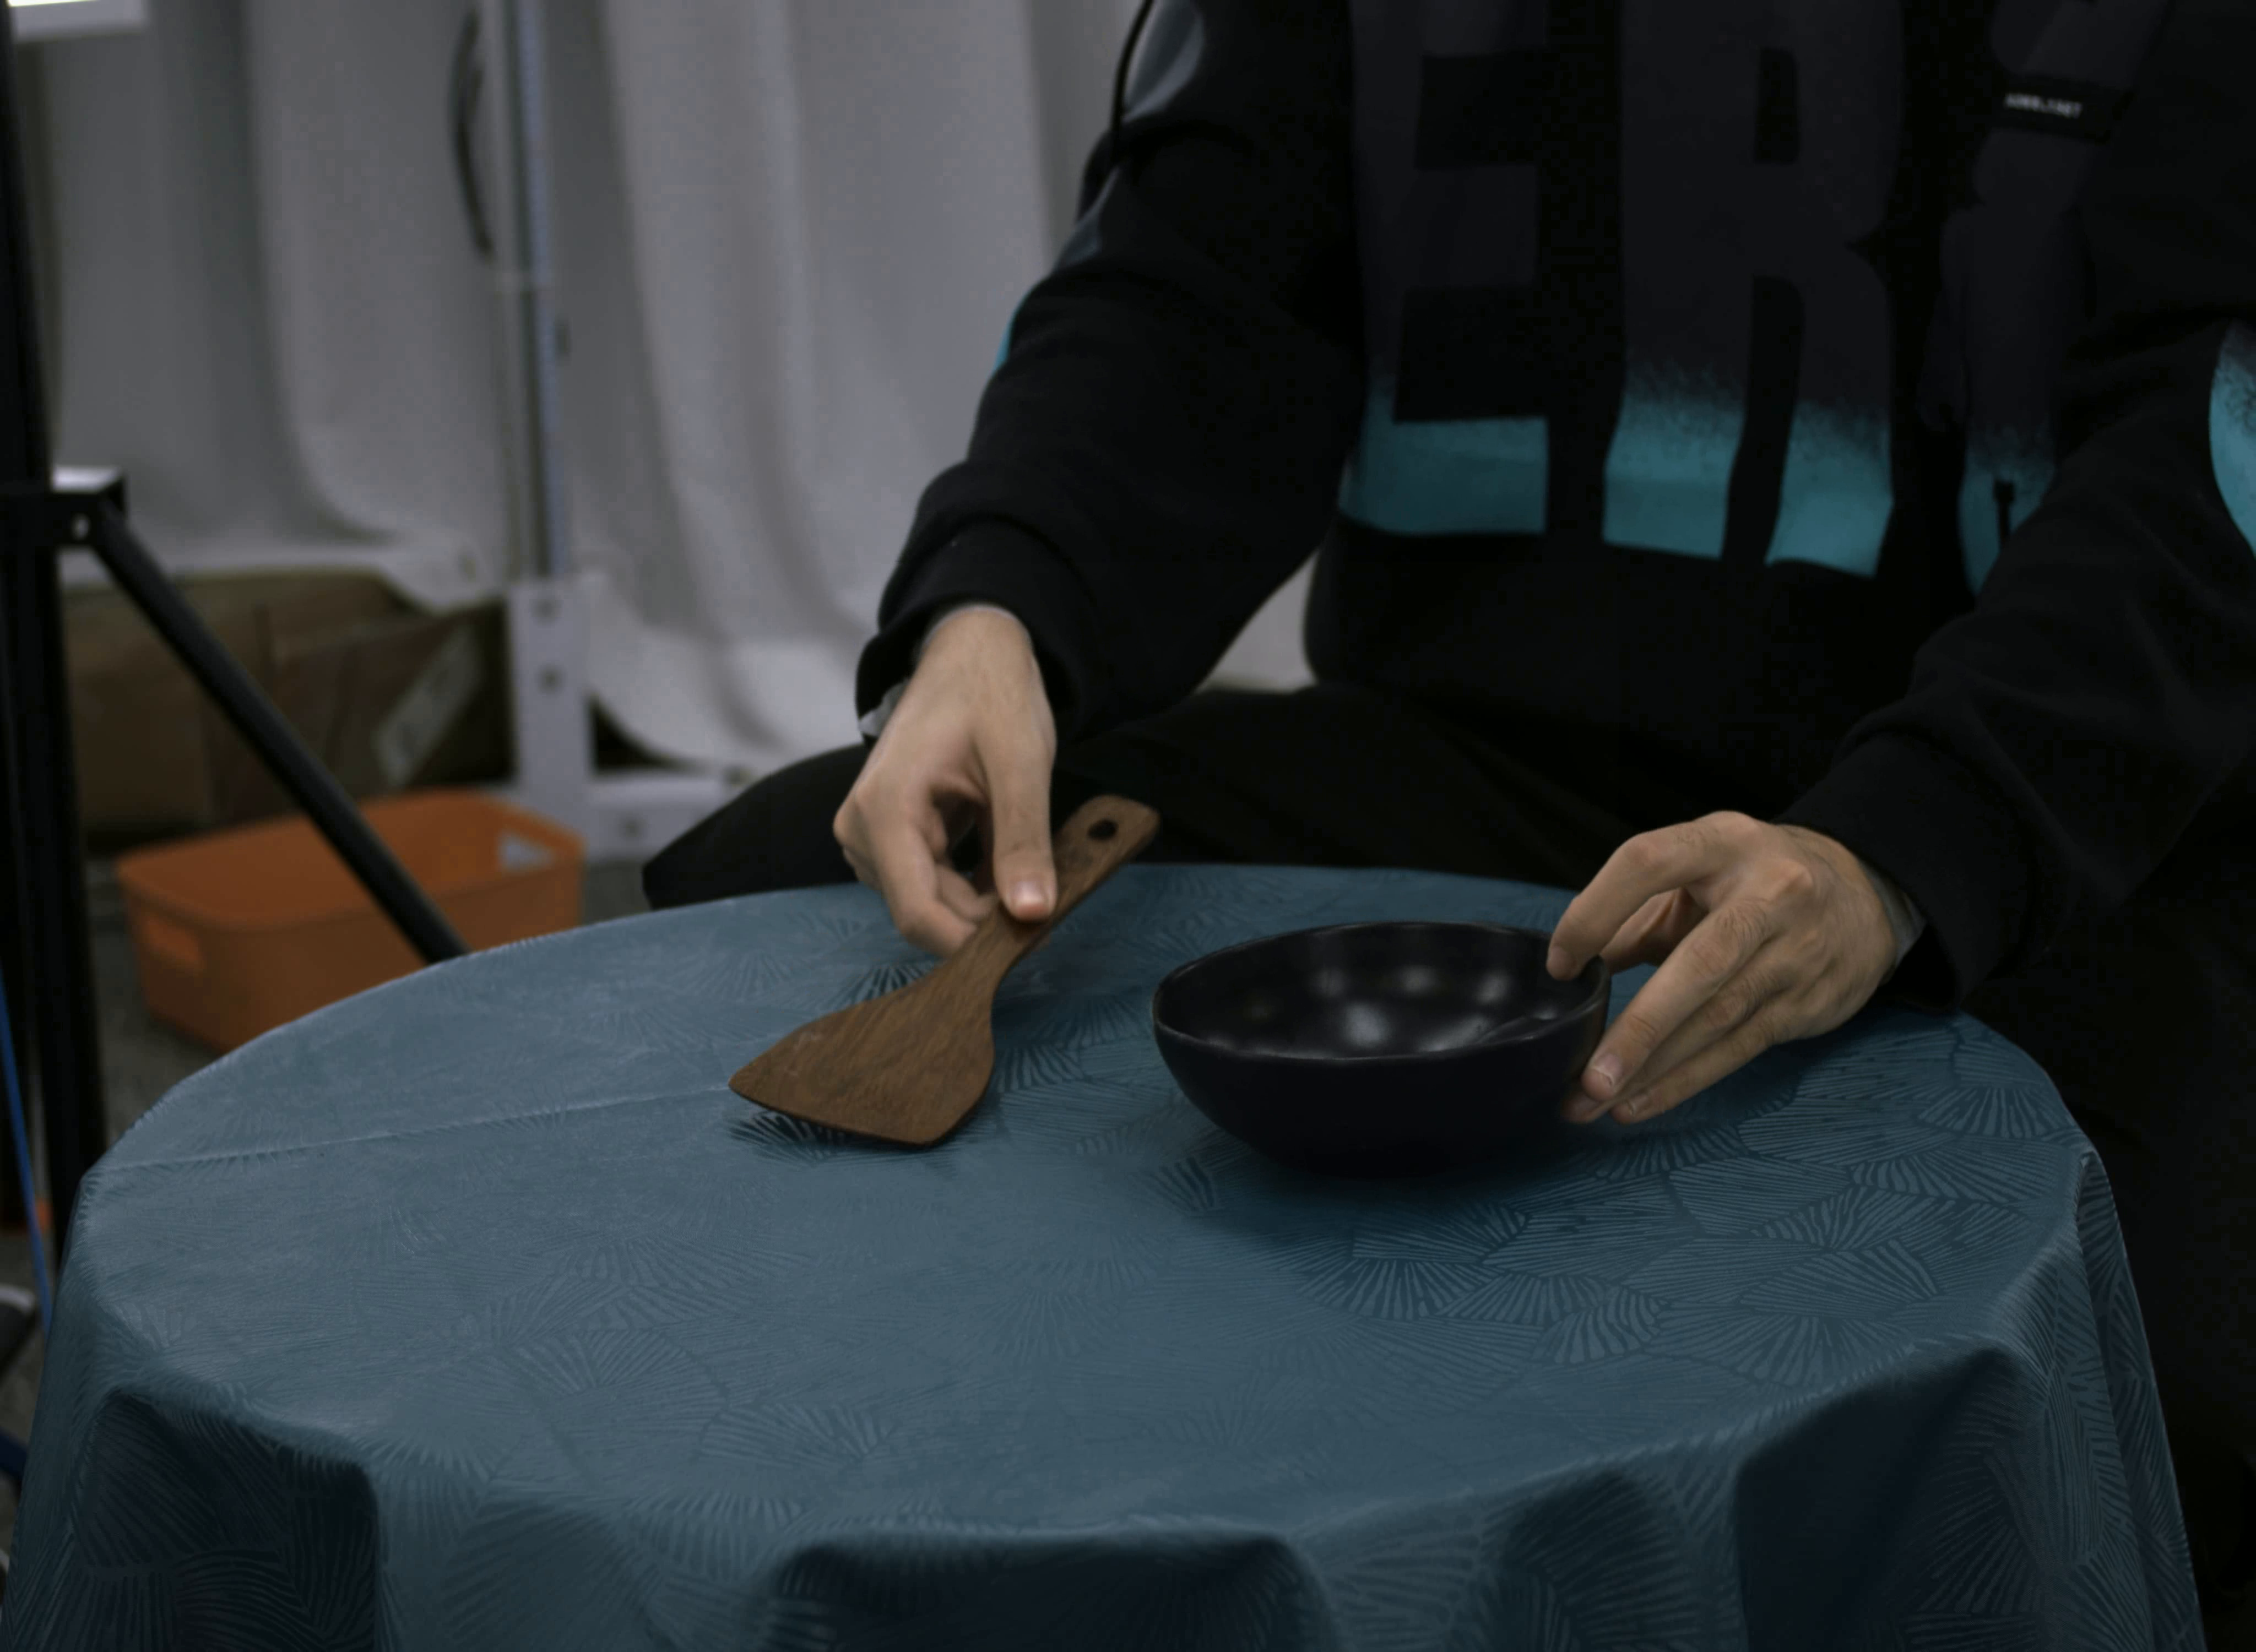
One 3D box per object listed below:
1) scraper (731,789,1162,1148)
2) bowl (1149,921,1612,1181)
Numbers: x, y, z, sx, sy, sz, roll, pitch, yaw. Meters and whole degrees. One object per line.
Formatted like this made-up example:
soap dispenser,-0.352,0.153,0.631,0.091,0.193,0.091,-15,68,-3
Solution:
scraper,-0.046,0.042,1.691,0.077,0.011,0.209,15,37,23
bowl,0.078,0.072,1.581,0.139,0.050,0.140,-7,14,0
